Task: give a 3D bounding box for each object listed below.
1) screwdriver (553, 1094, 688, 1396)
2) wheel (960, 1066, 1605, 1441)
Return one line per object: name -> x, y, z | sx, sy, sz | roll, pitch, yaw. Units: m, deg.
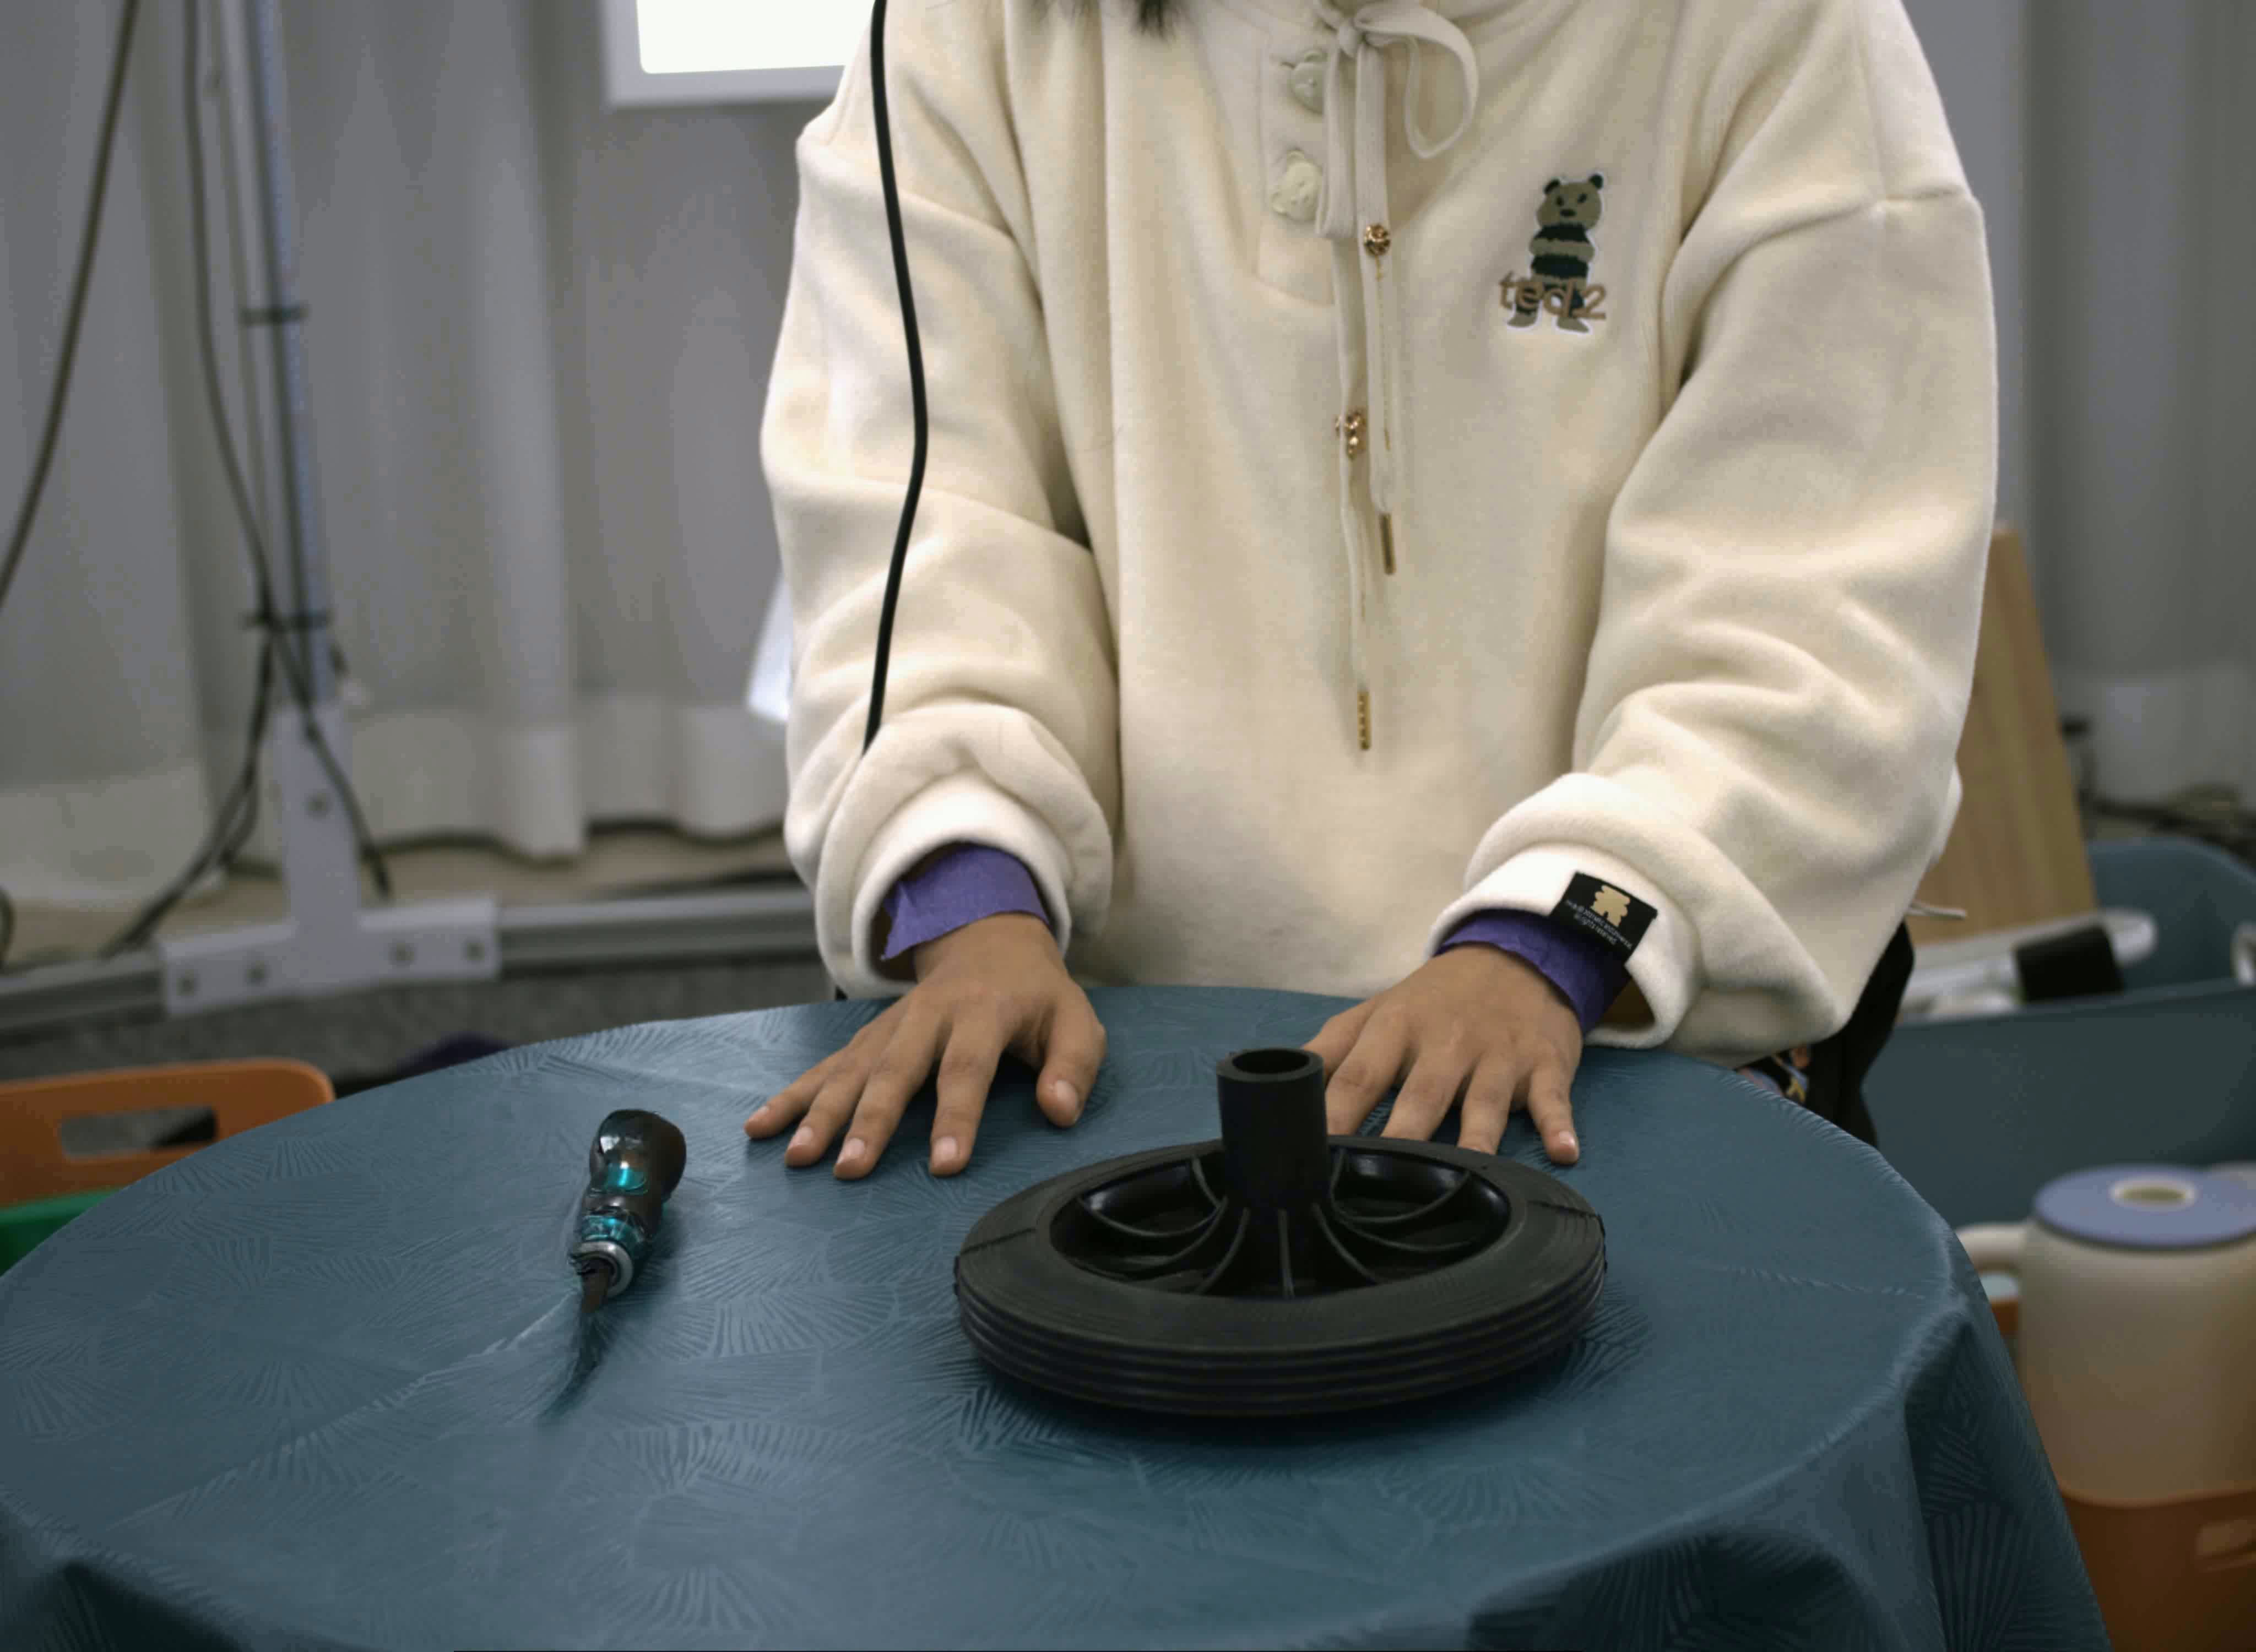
screwdriver -> -0.158, 0.129, 1.652 | 0.033, 0.033, 0.191 | -2, 20, 4
wheel -> 0.042, 0.112, 1.573 | 0.188, 0.079, 0.190 | 7, 20, 34
